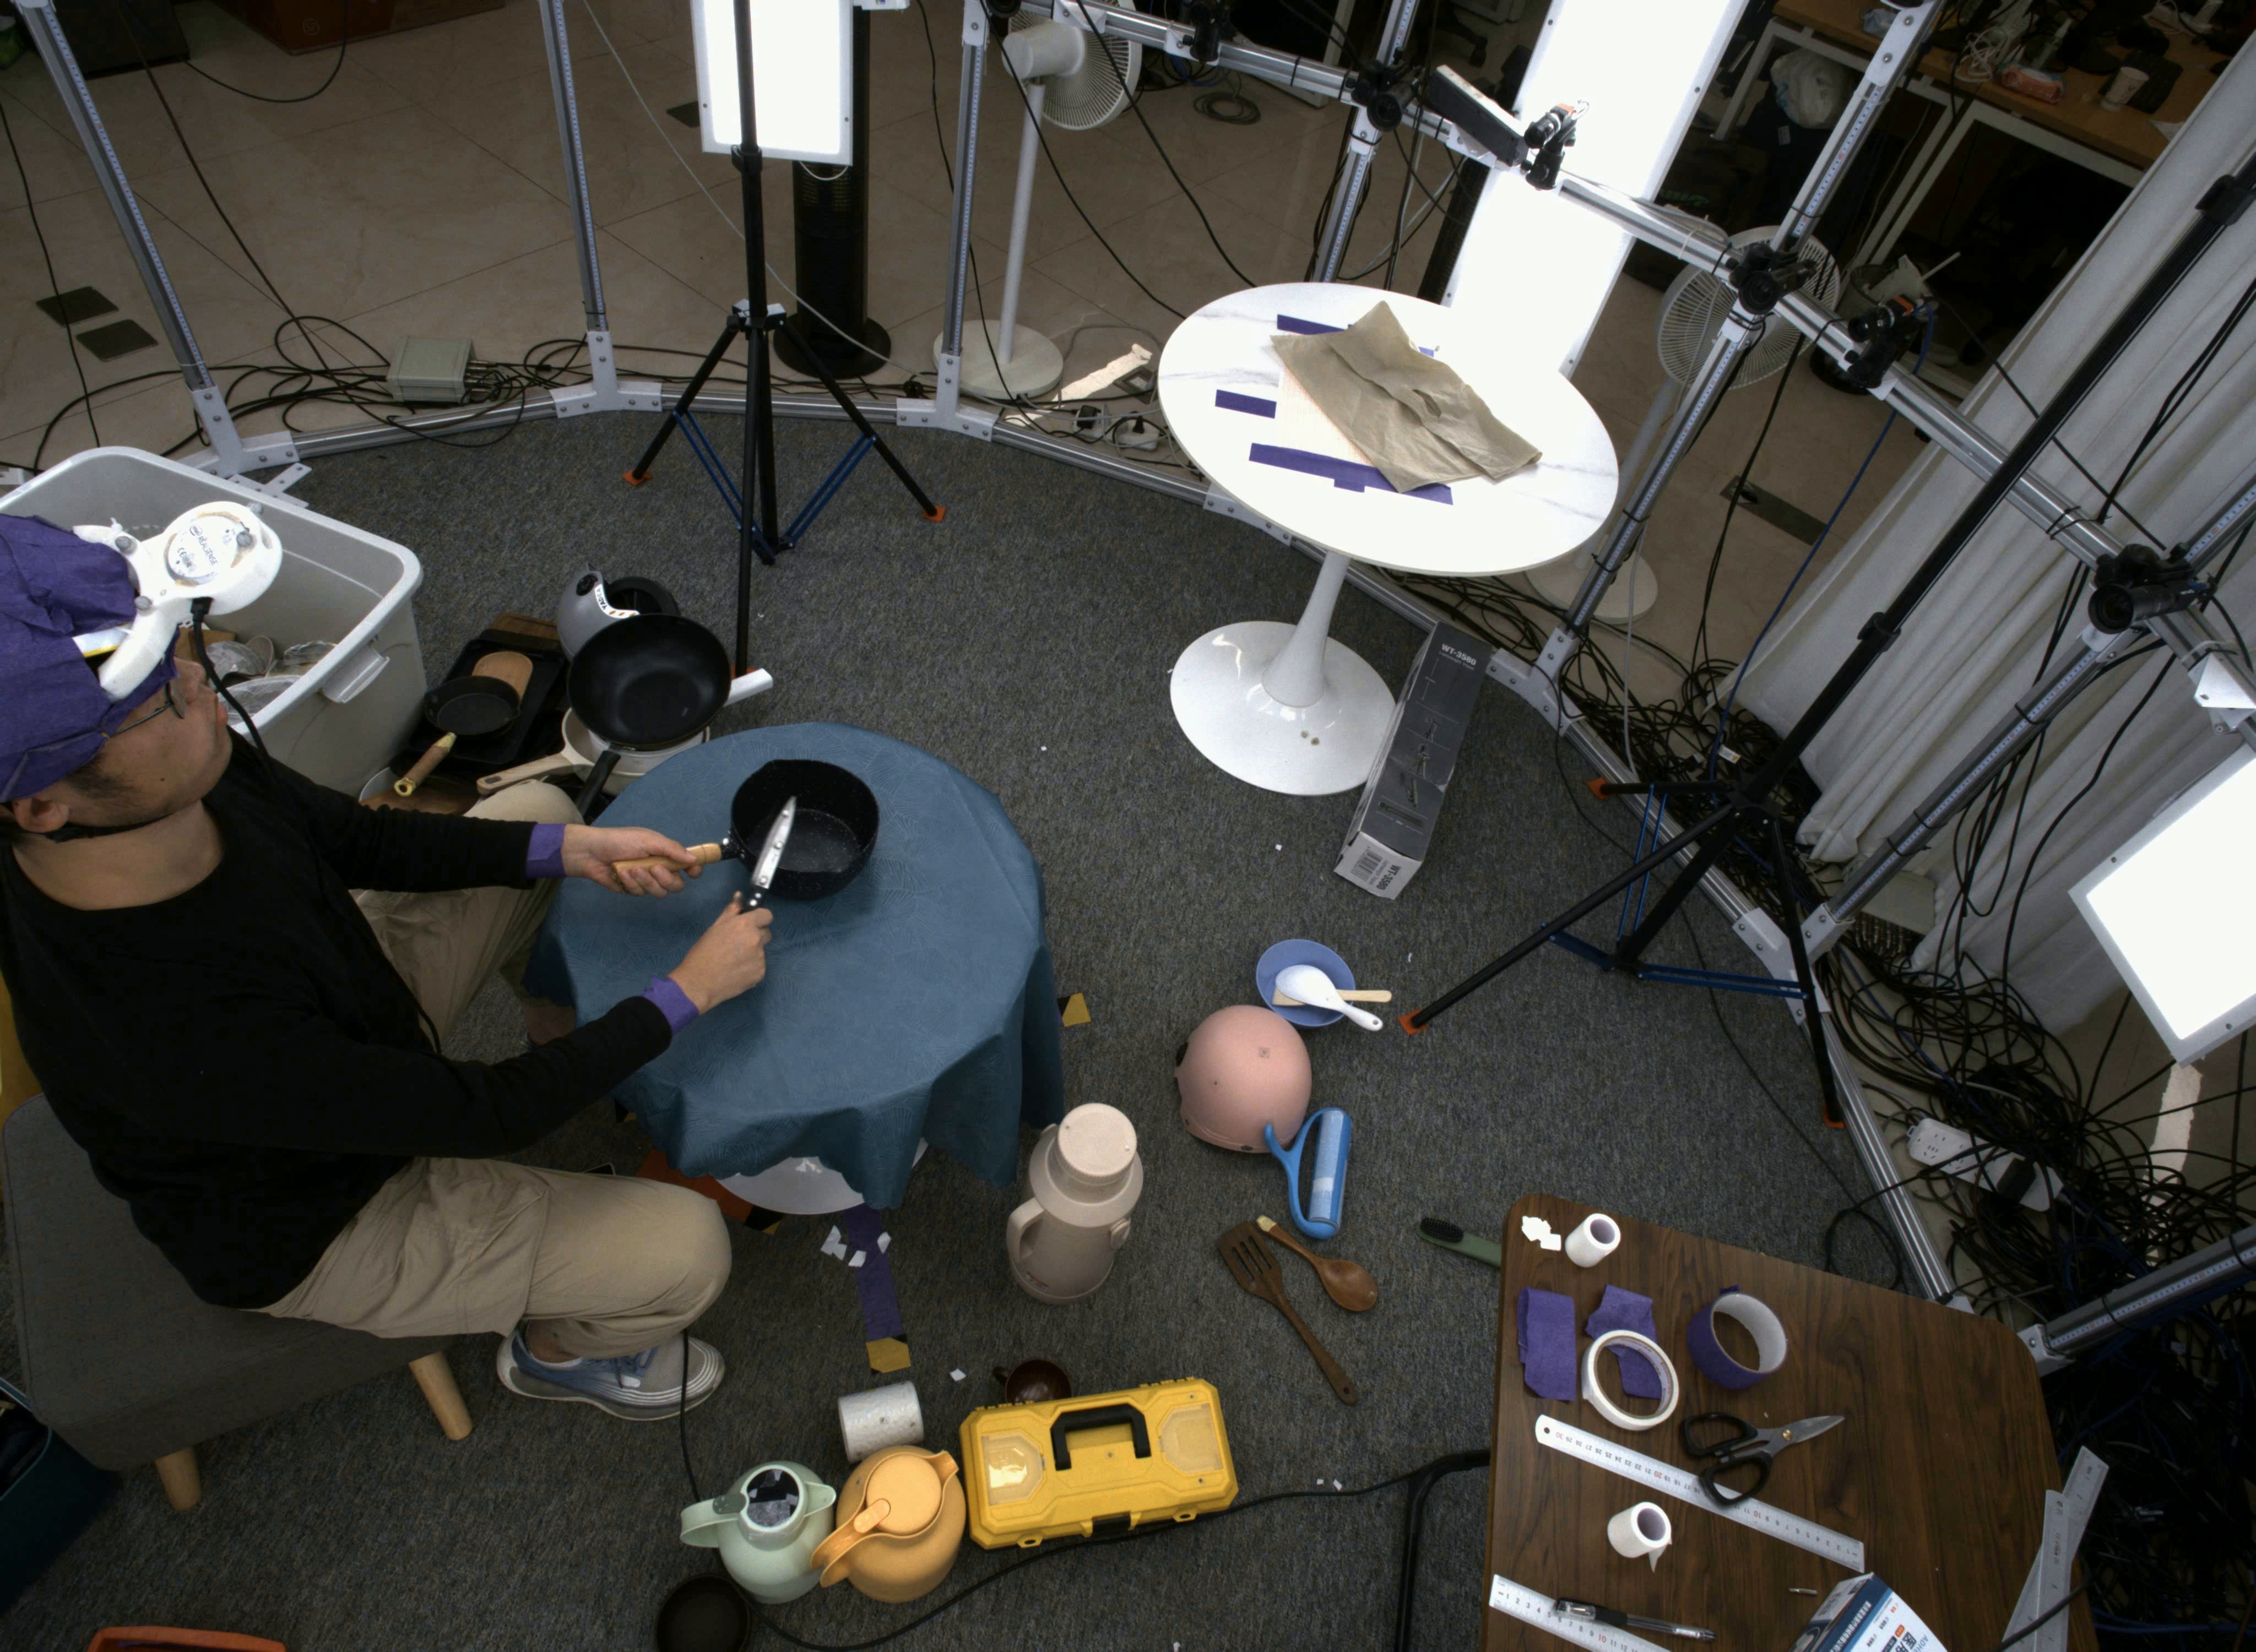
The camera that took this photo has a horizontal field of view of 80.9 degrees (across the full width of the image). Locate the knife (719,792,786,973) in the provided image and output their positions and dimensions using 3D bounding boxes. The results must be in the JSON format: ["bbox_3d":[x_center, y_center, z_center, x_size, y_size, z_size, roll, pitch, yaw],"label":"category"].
[{"bbox_3d":[-0.445,0.064,1.553,0.025,0.016,0.236,20,64,-18],"label":"knife"}]

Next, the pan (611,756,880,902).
[{"bbox_3d":[-0.474,0.028,1.608,0.345,0.110,0.202,-22,62,-33],"label":"pan"}]
